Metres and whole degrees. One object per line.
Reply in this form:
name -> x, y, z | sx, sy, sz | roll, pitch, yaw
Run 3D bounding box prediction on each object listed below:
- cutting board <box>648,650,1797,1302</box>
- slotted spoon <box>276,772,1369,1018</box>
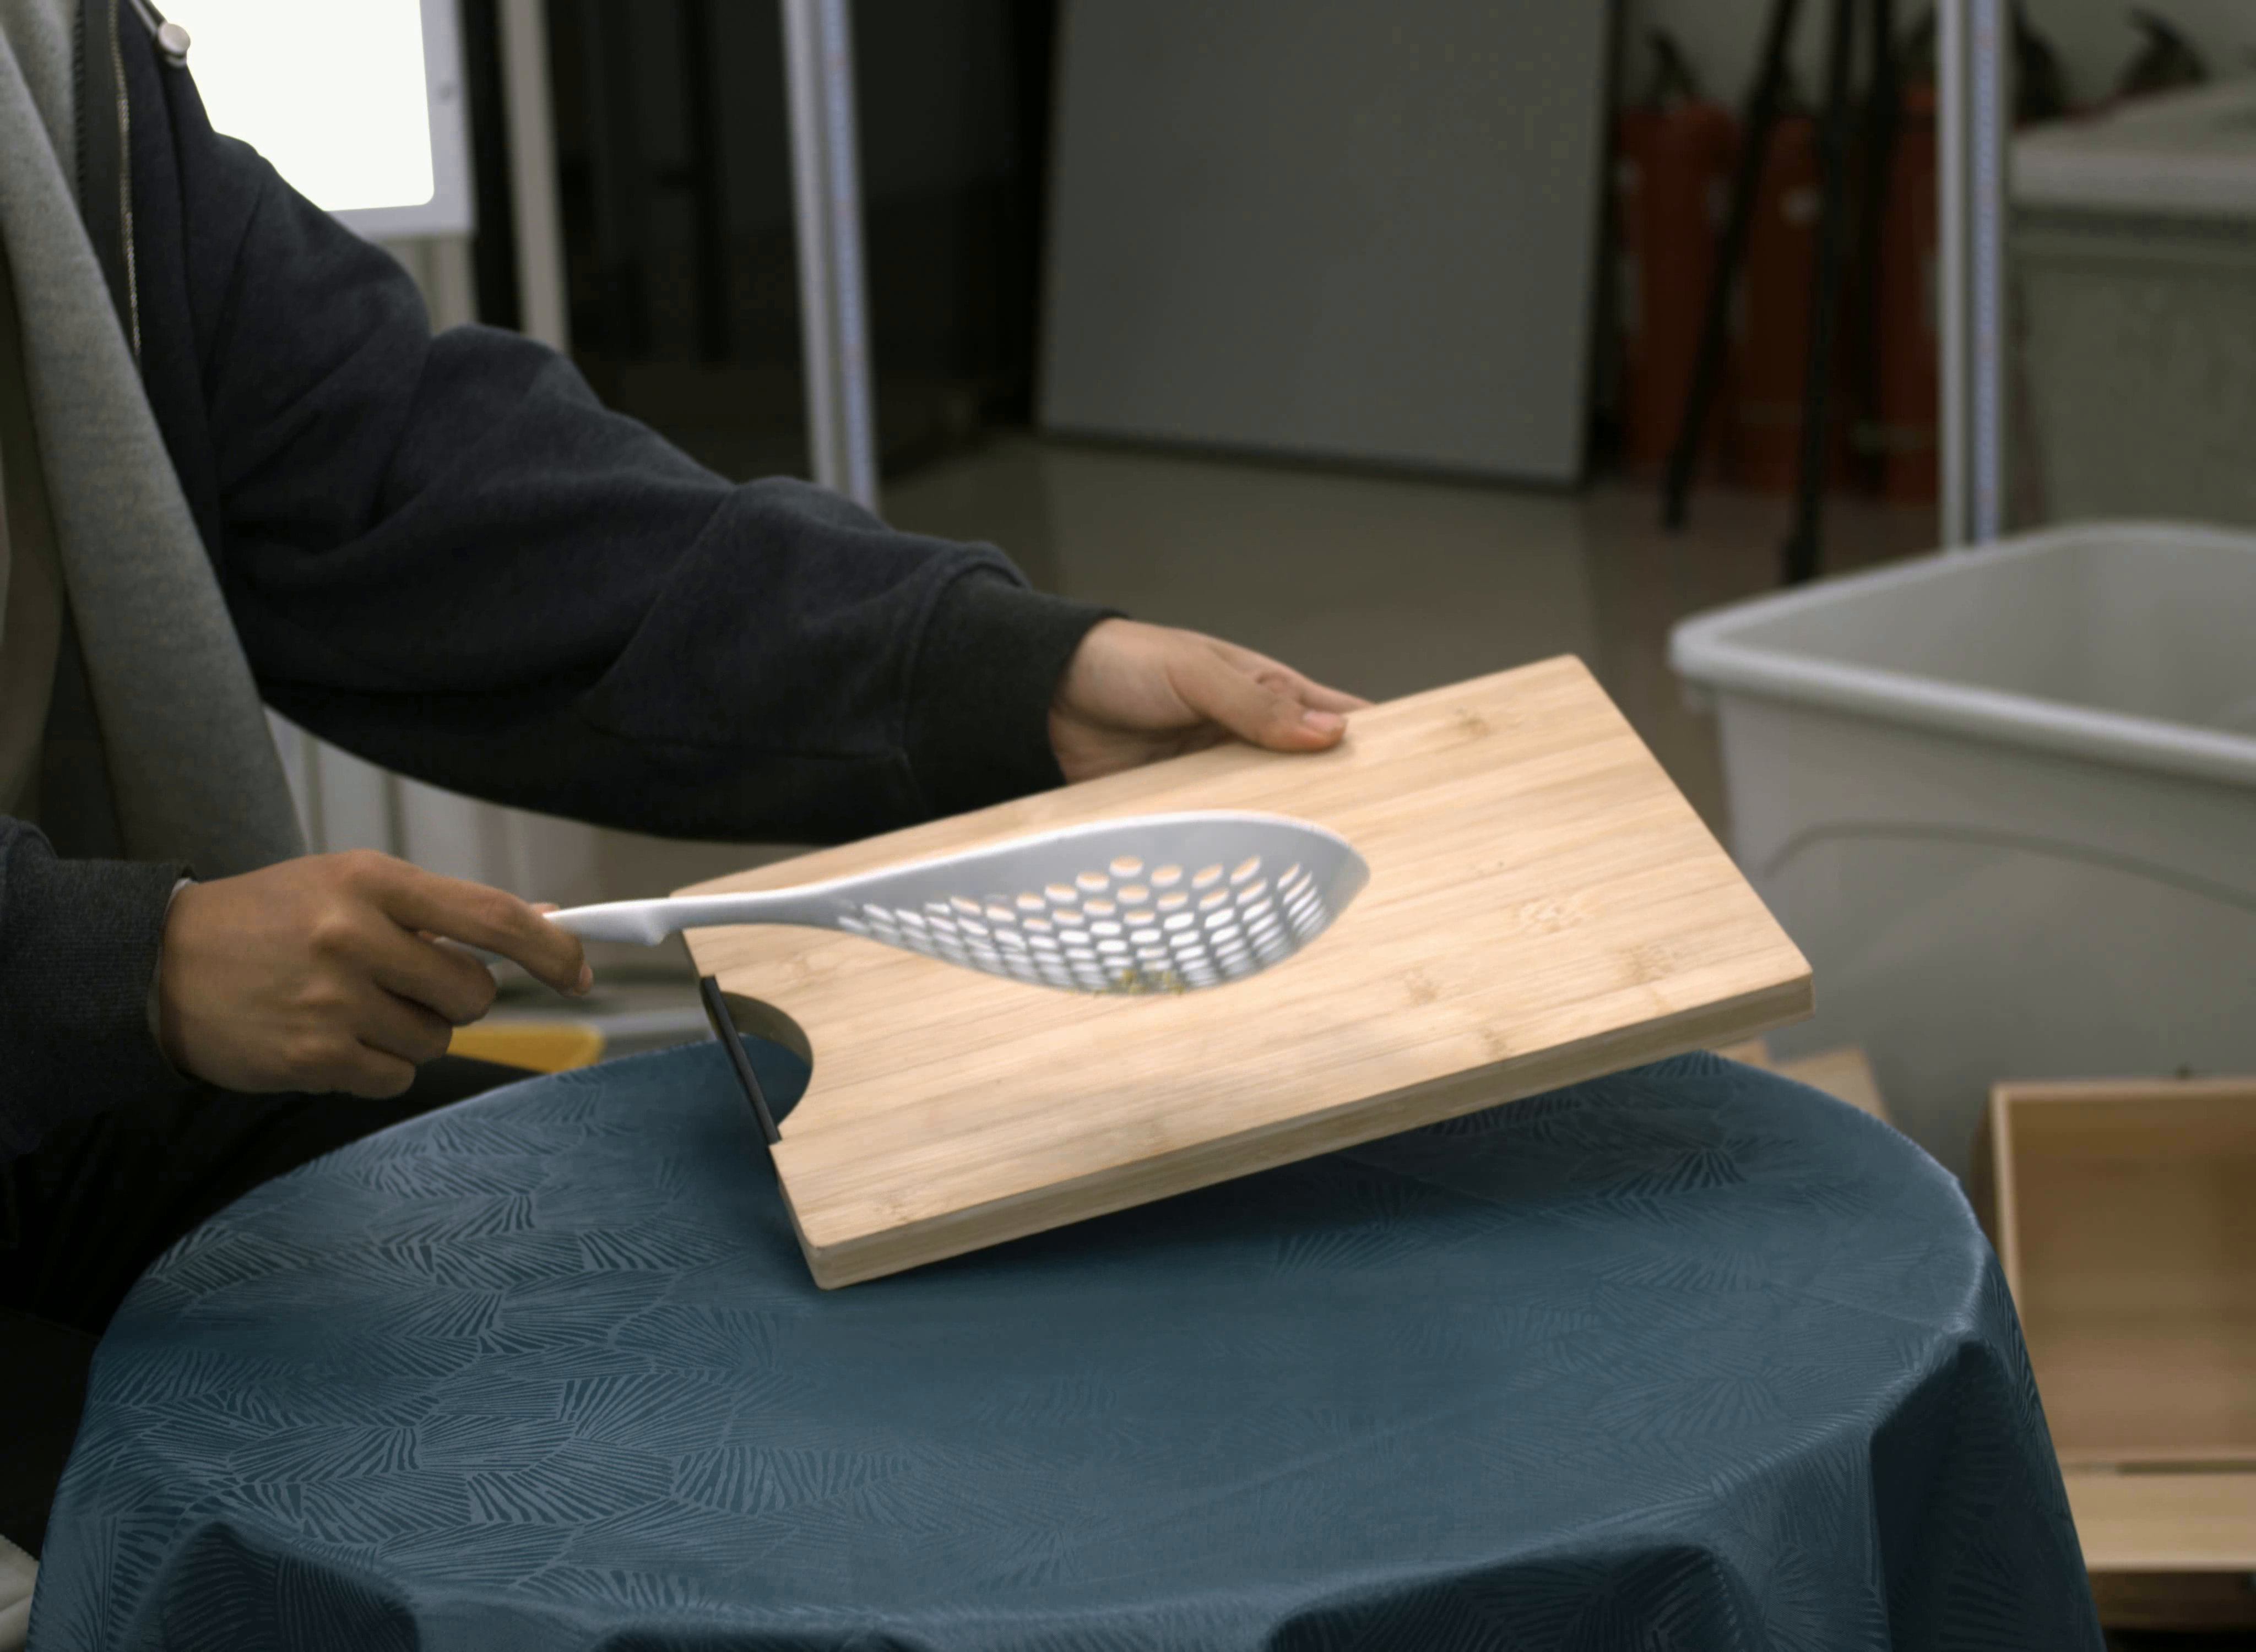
cutting board -> 0.027, 0.044, 1.812 | 0.343, 0.024, 0.253 | -16, 30, -8
slotted spoon -> -0.096, 0.030, 1.683 | 0.345, 0.051, 0.136 | -3, -15, 10
